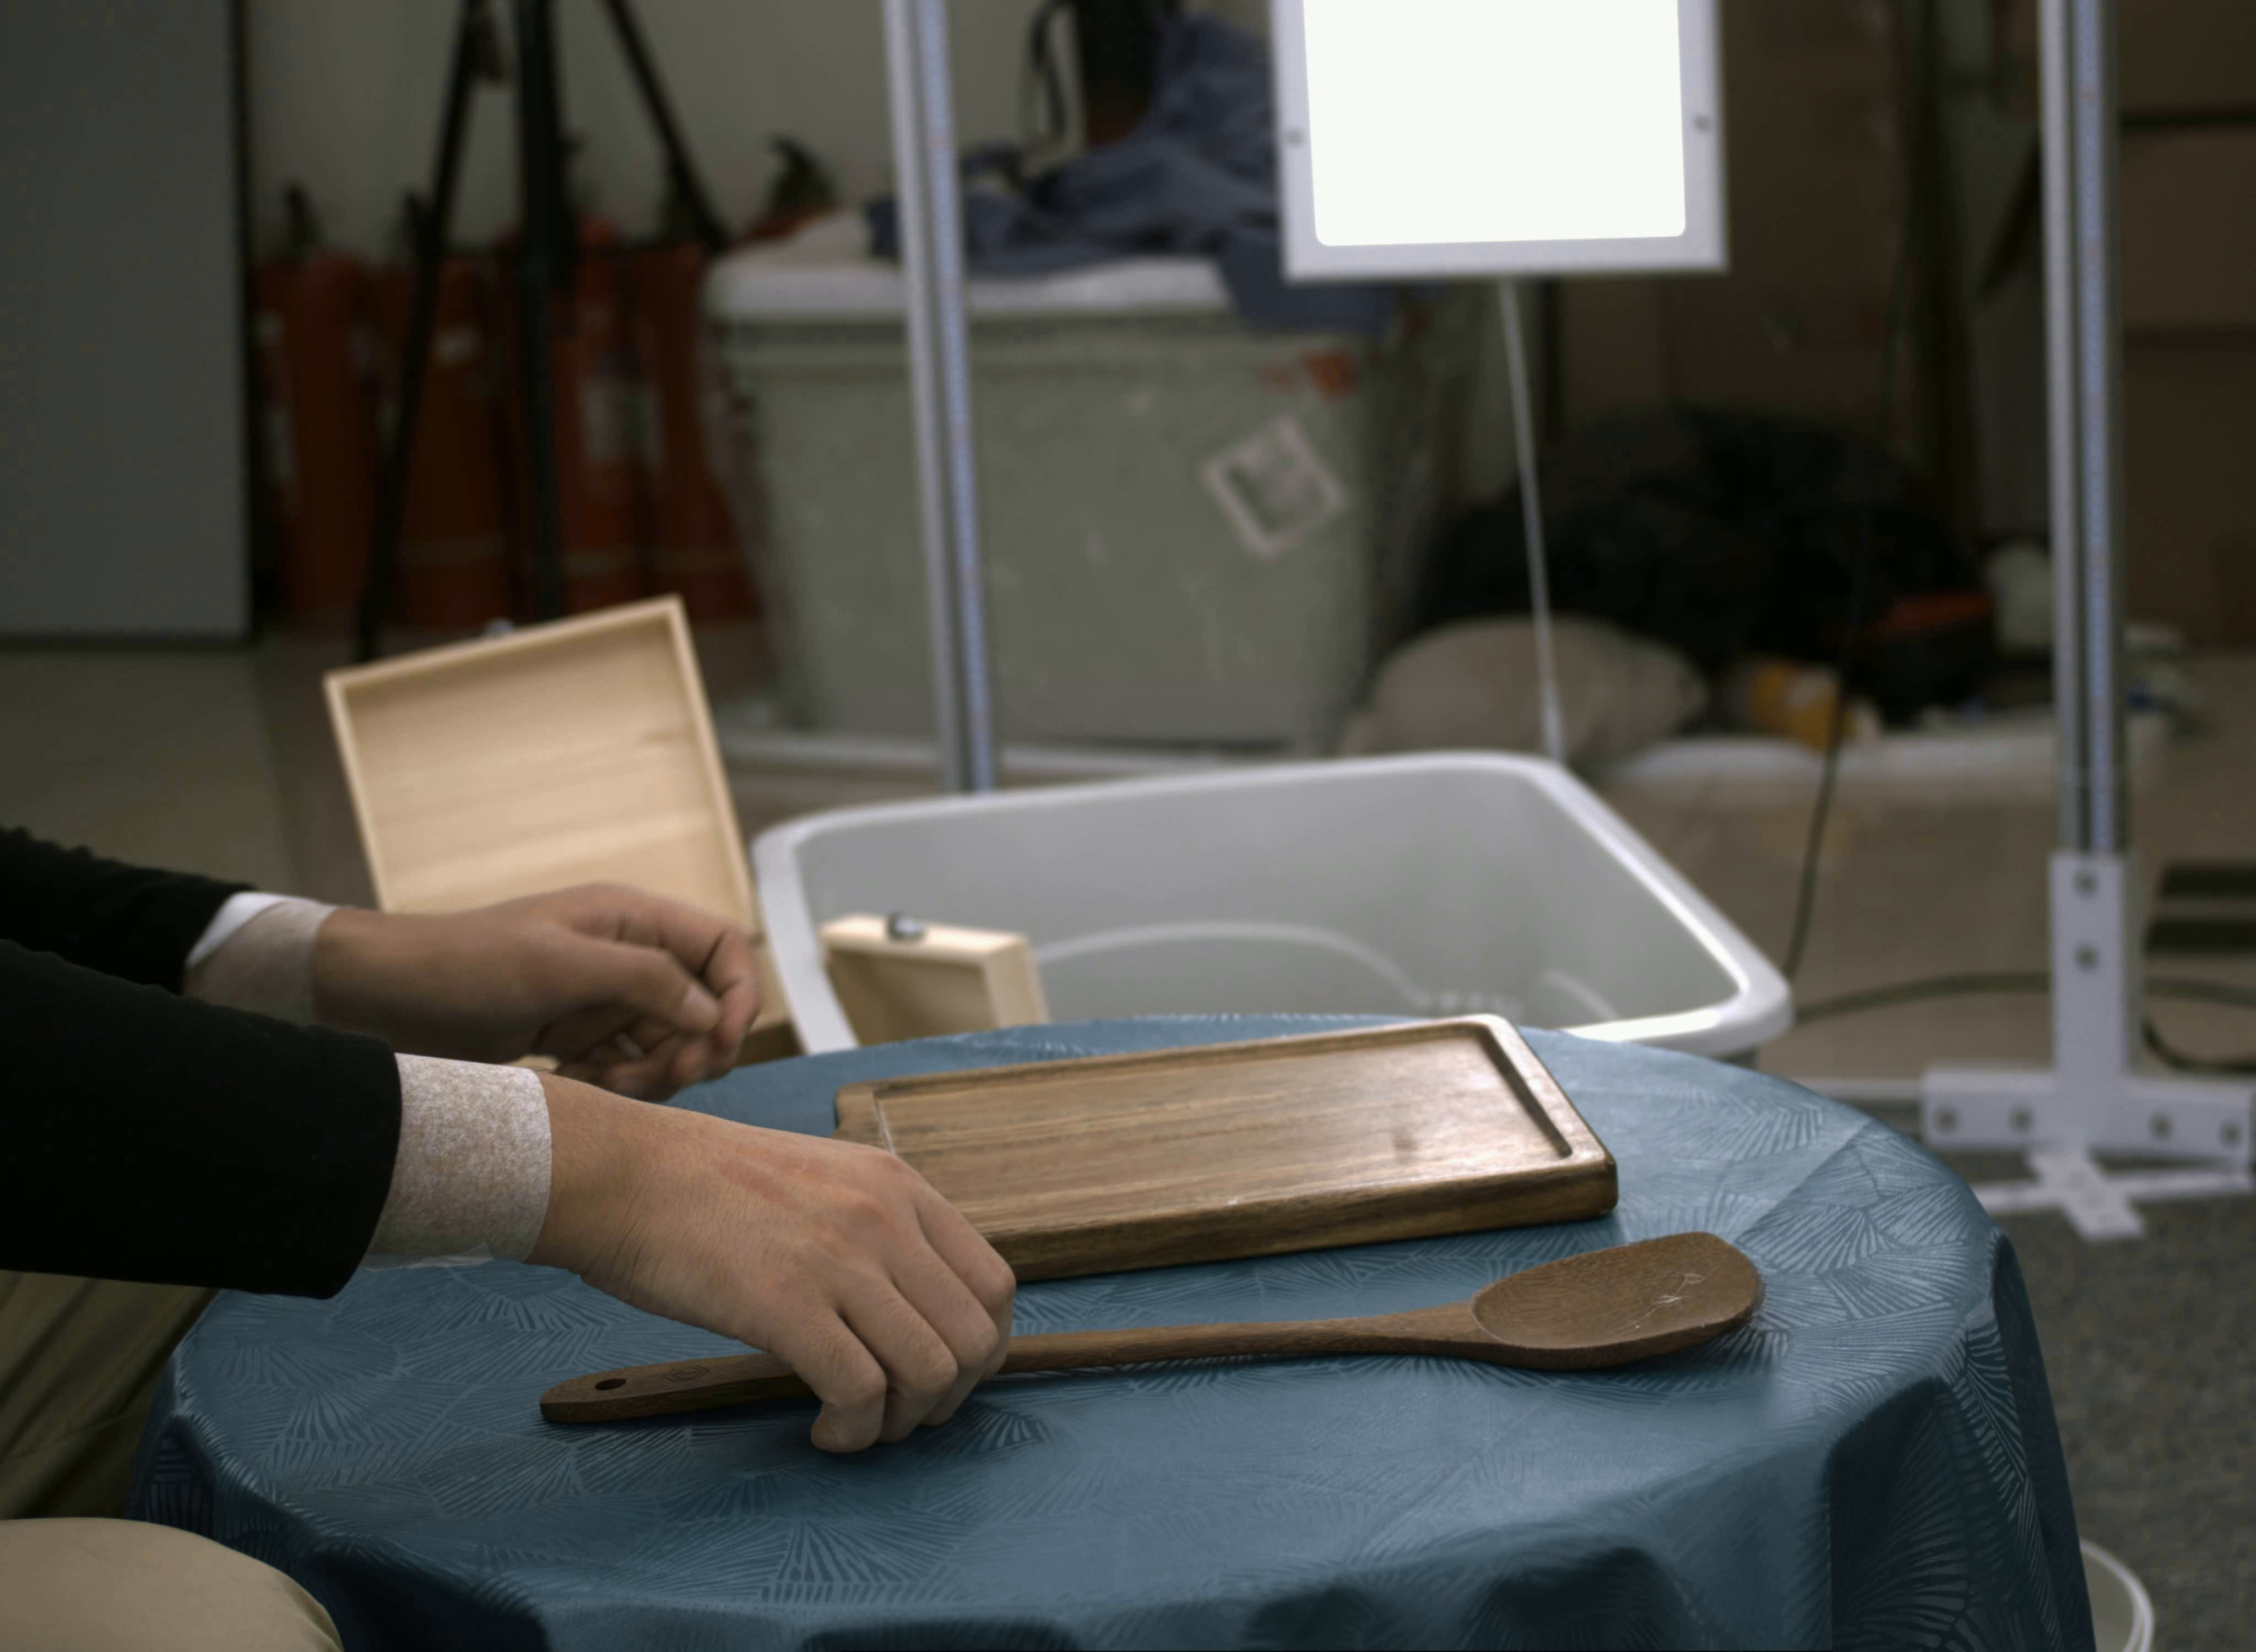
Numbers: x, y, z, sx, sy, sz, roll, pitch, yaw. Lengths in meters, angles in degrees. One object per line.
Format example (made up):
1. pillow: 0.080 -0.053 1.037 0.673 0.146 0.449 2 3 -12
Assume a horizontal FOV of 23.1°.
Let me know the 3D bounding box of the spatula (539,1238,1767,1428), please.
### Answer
1. spatula: 0.008 0.162 1.719 0.385 0.016 0.096 -5 13 1

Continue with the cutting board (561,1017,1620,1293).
1. cutting board: -0.021 0.116 1.904 0.350 0.023 0.201 -6 13 -4
